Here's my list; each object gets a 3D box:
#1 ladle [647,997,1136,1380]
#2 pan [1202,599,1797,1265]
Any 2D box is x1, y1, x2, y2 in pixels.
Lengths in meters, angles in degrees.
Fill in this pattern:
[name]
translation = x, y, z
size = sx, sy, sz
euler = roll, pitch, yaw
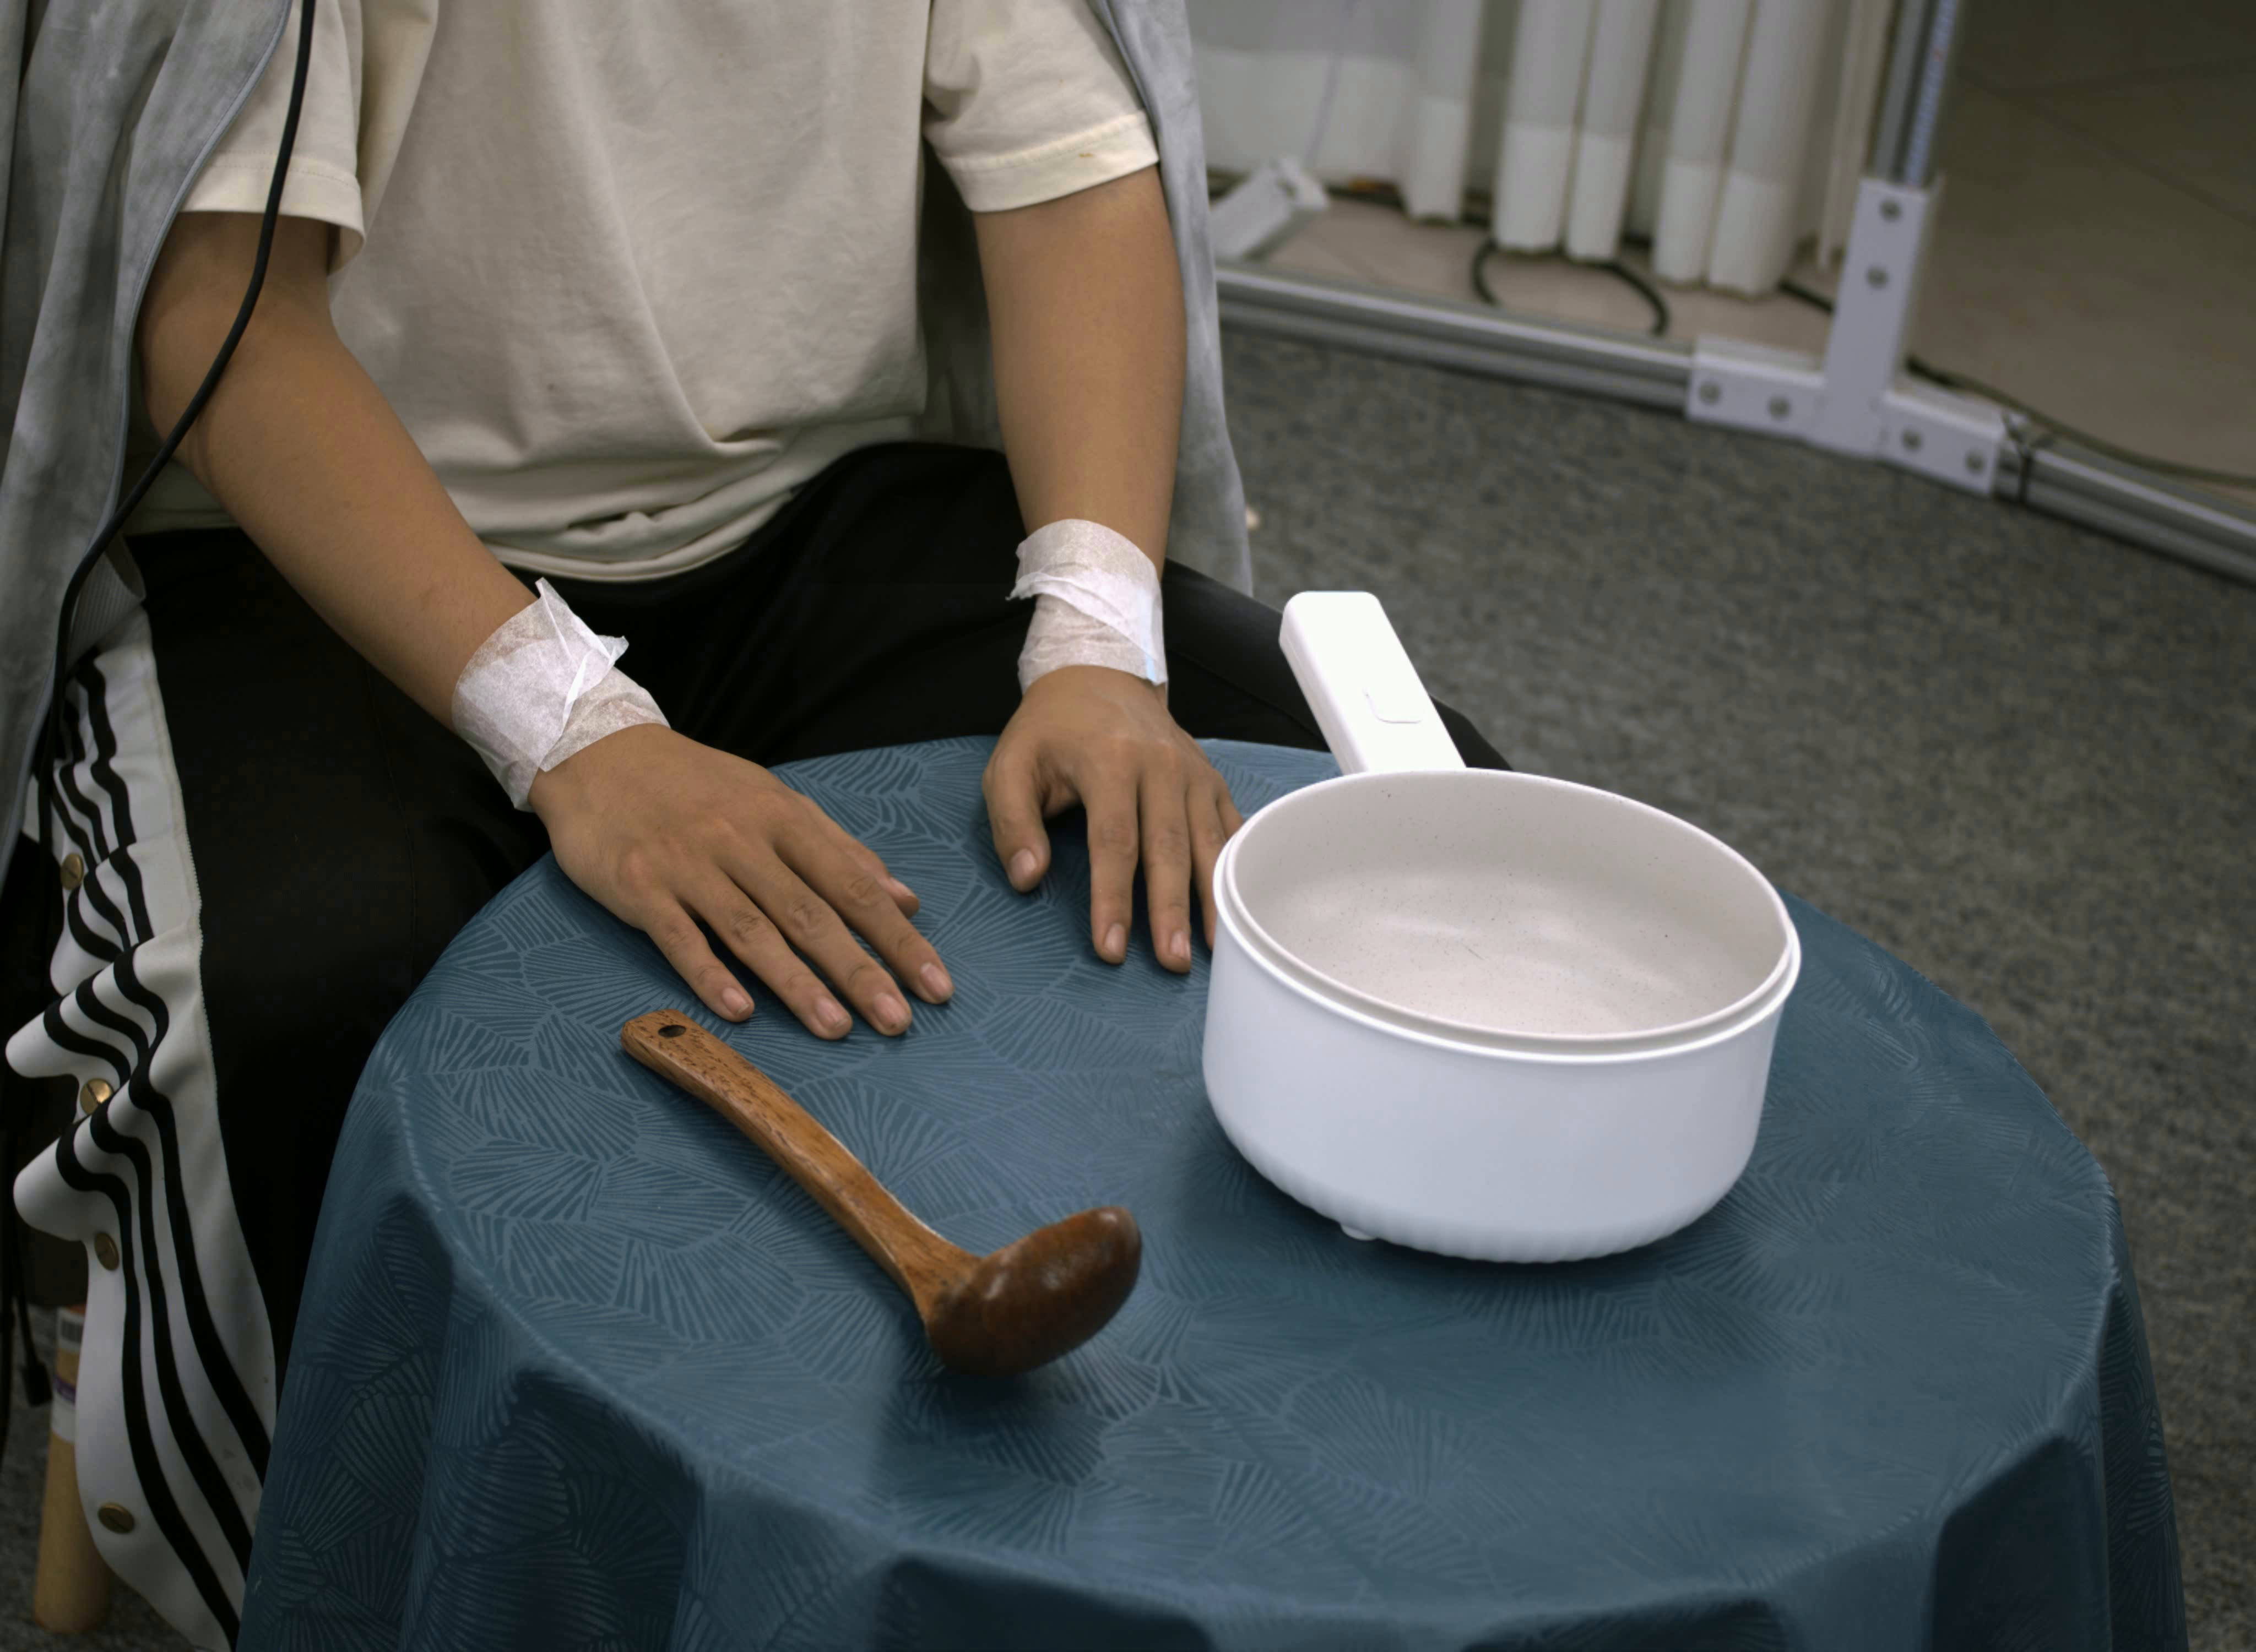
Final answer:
[ladle]
translation = -0.091, 0.100, 1.745
size = 0.081, 0.076, 0.276
euler = -13, 34, -29
[pan]
translation = 0.109, 0.035, 1.898
size = 0.200, 0.102, 0.357
euler = -1, 27, -12
